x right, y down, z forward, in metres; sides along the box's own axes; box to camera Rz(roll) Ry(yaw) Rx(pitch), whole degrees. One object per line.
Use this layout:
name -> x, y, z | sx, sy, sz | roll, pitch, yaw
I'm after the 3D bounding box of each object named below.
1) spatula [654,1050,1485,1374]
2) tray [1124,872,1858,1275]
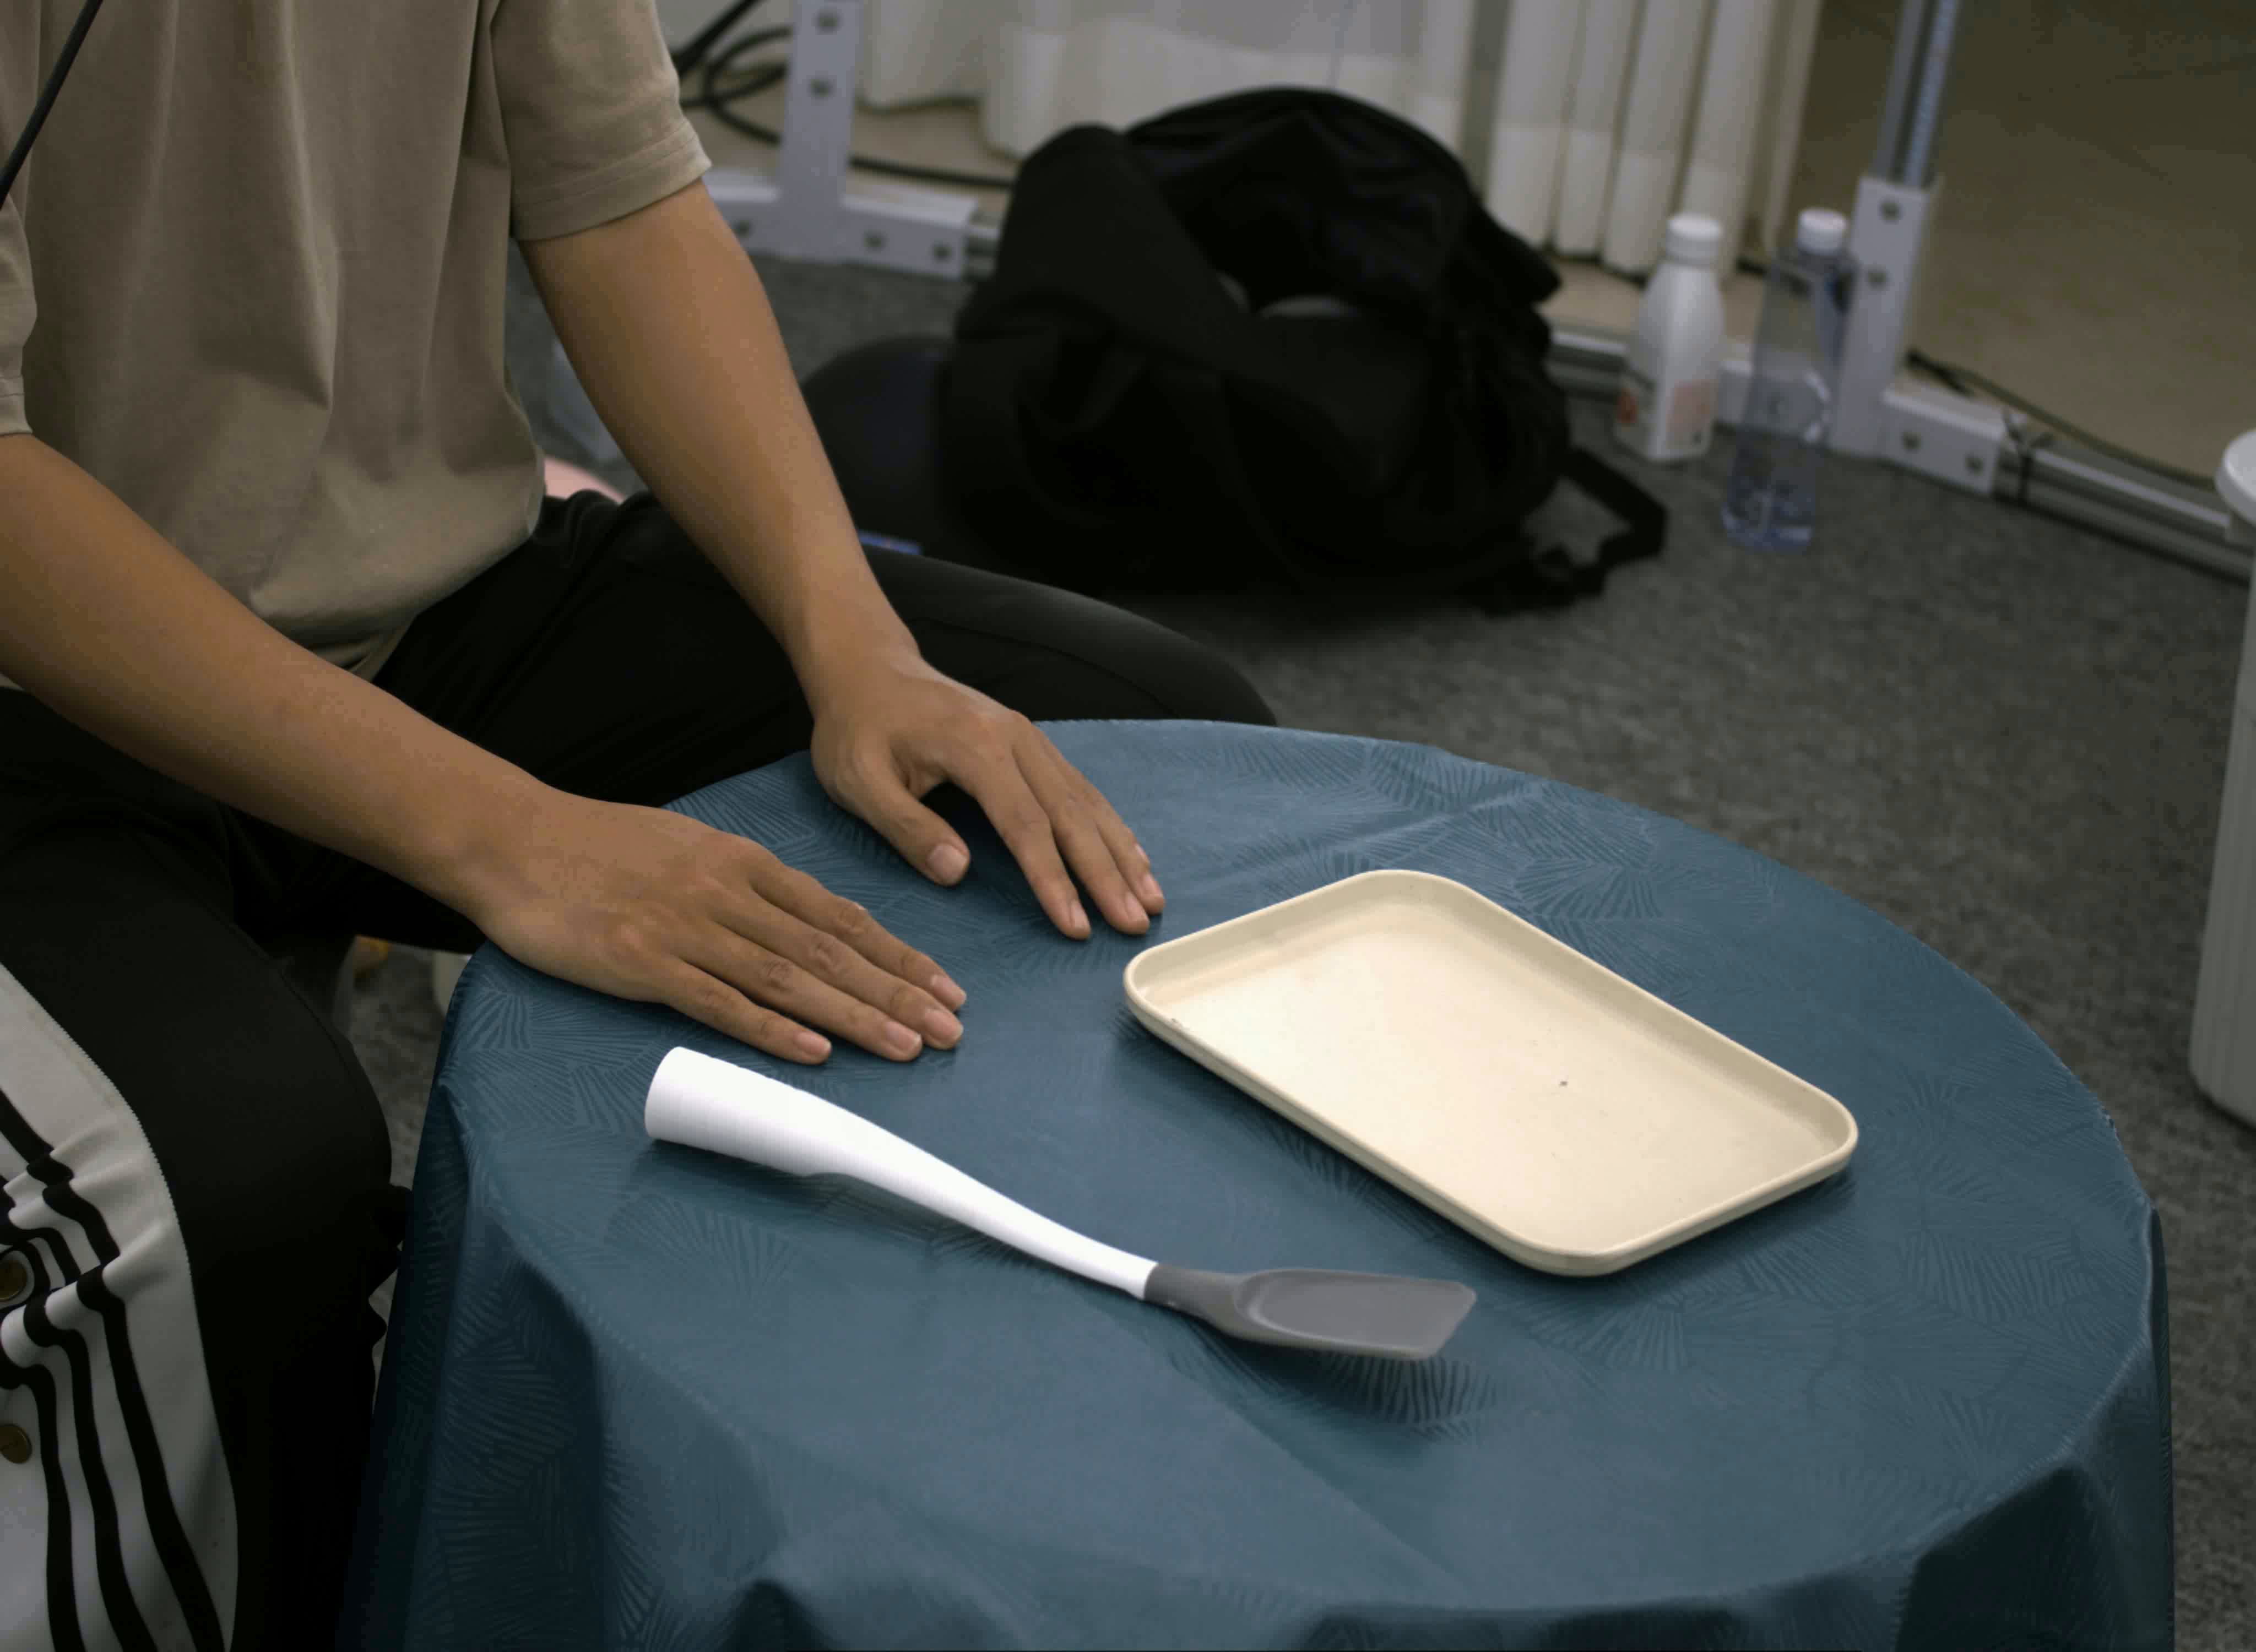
spatula -> -0.023, 0.130, 1.748 | 0.288, 0.032, 0.058 | 17, 25, 18
tray -> 0.127, 0.086, 1.889 | 0.170, 0.017, 0.241 | -17, 36, -40
